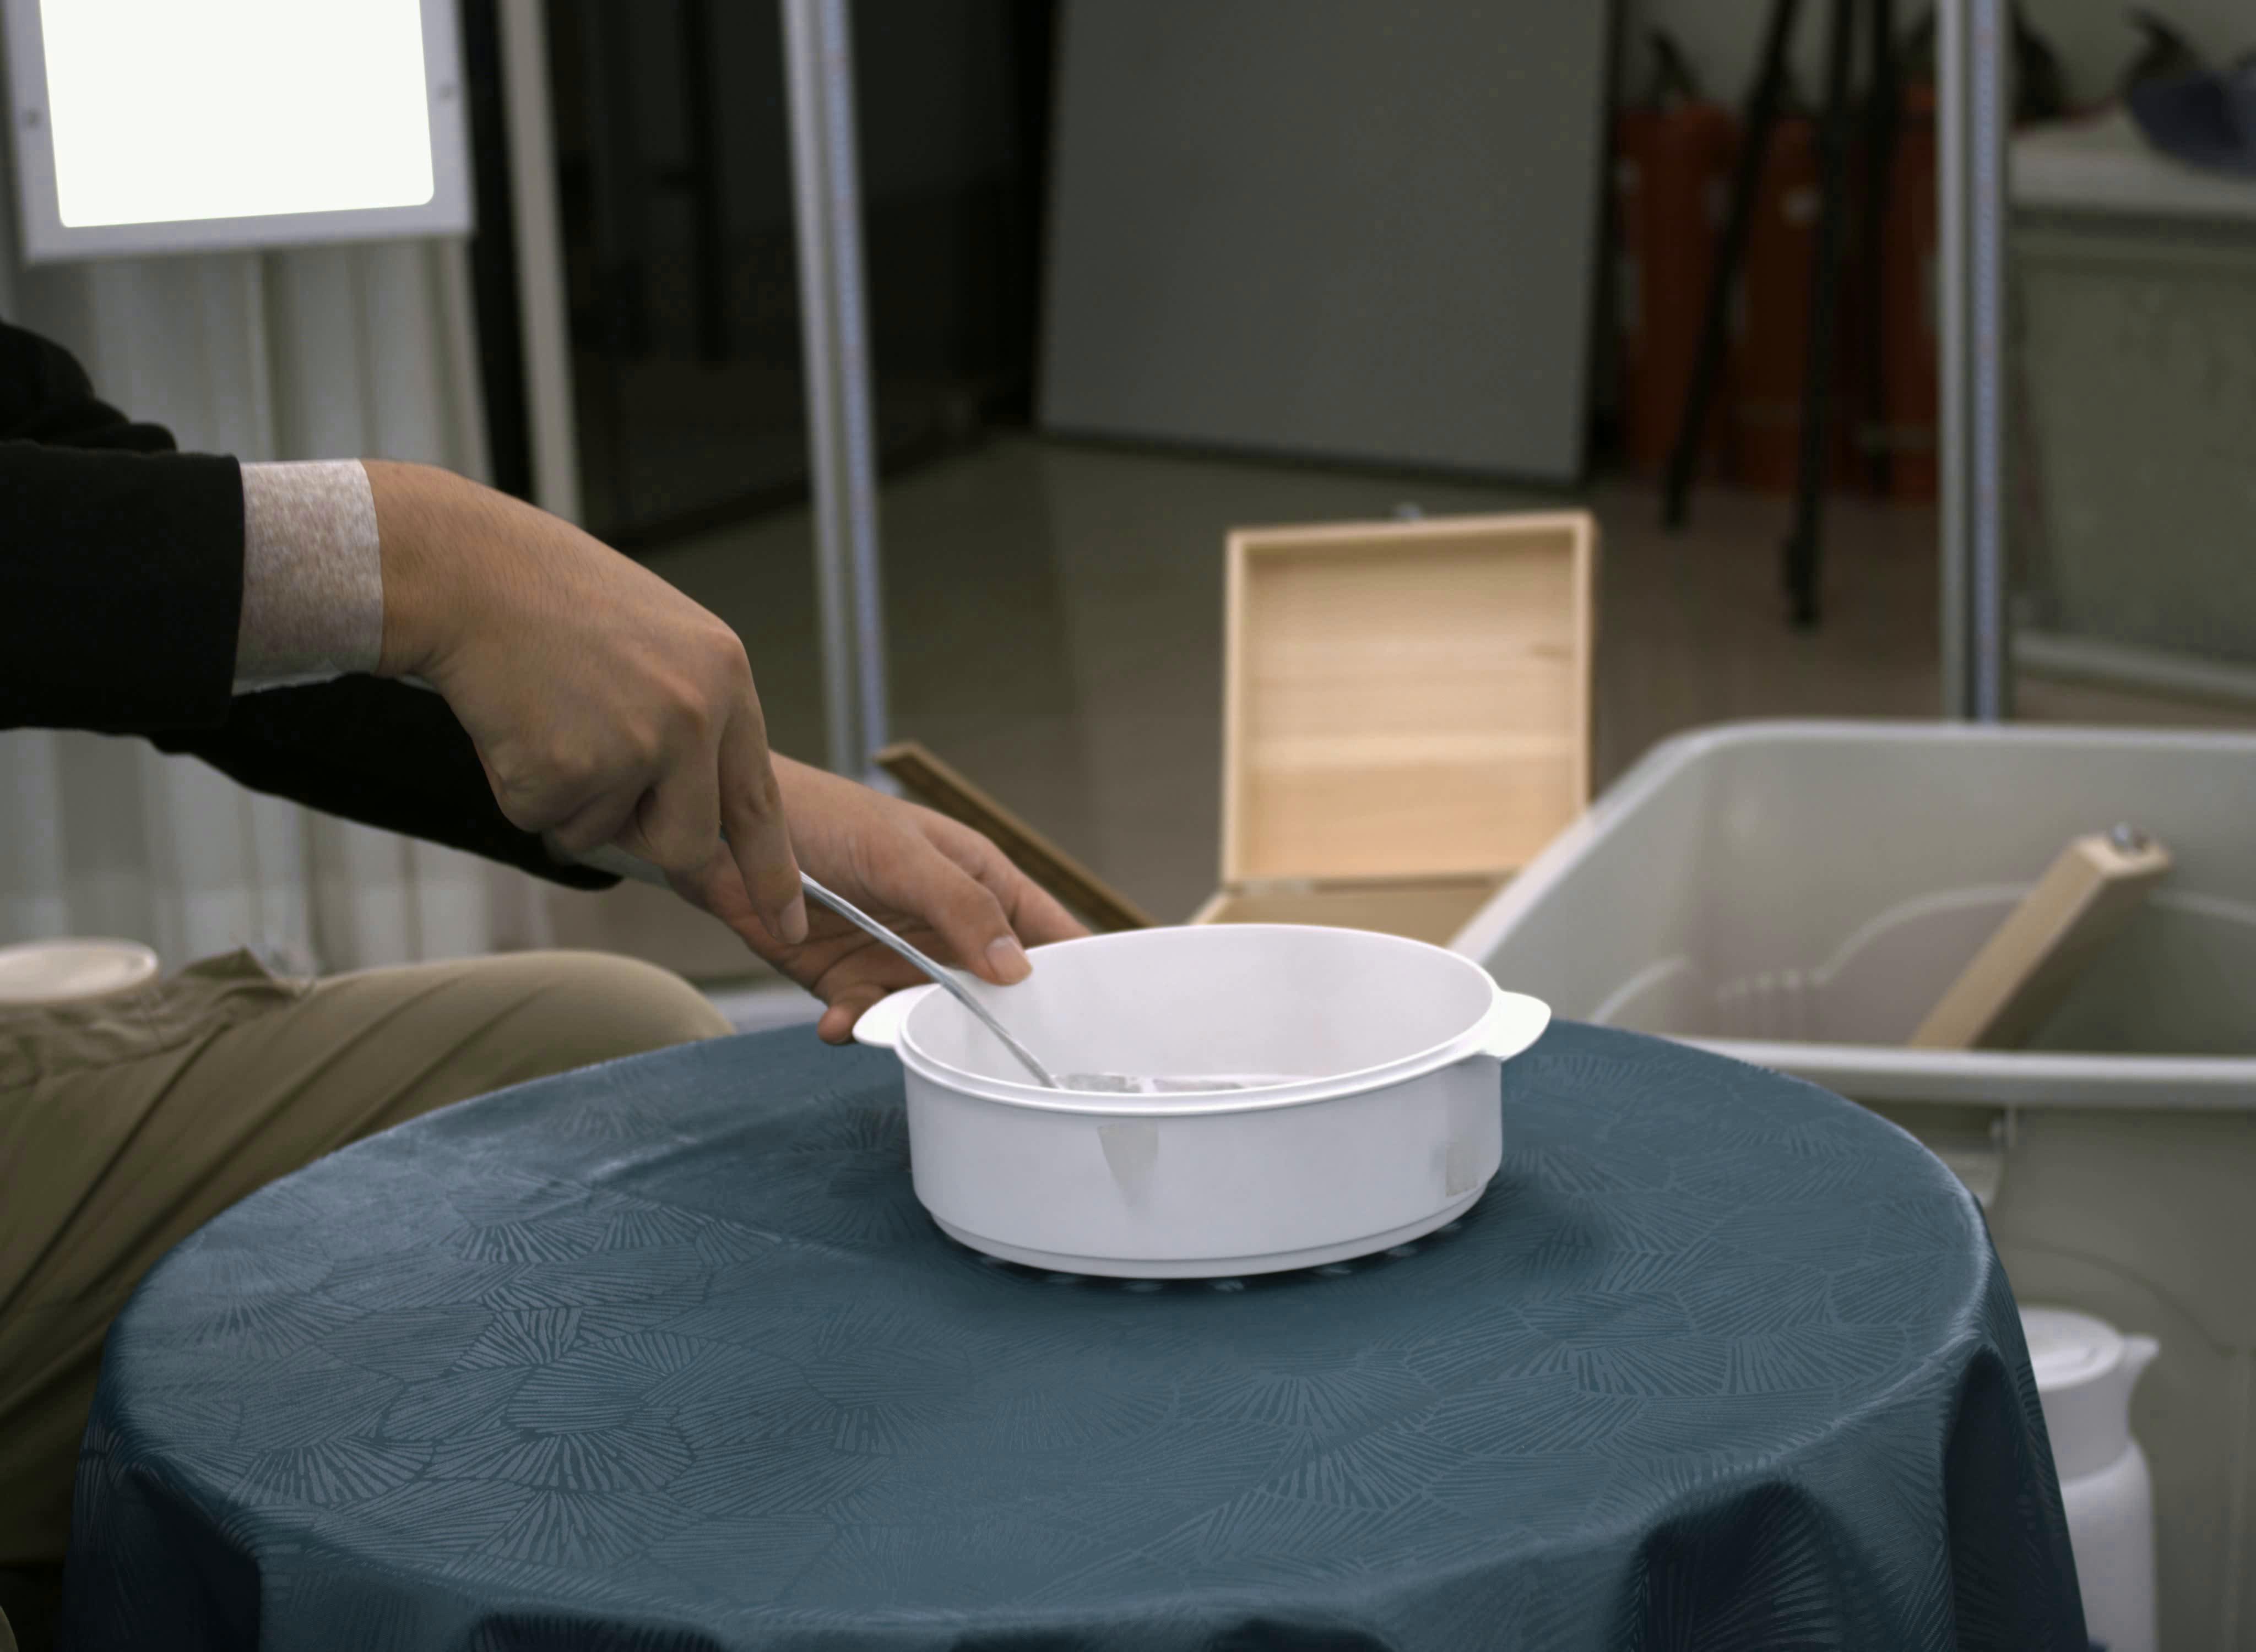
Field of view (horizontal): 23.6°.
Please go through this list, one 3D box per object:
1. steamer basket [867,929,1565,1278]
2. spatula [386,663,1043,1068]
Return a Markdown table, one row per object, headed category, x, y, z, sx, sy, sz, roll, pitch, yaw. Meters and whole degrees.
| category | x | y | z | sx | sy | sz | roll | pitch | yaw |
| --- | --- | --- | --- | --- | --- | --- | --- | --- | --- |
| steamer basket | 0.030 | 0.089 | 1.745 | 0.230 | 0.070 | 0.200 | -1 | 13 | 17 |
| spatula | -0.074 | 0.030 | 1.685 | 0.359 | 0.045 | 0.099 | 35 | 3 | -27 |
